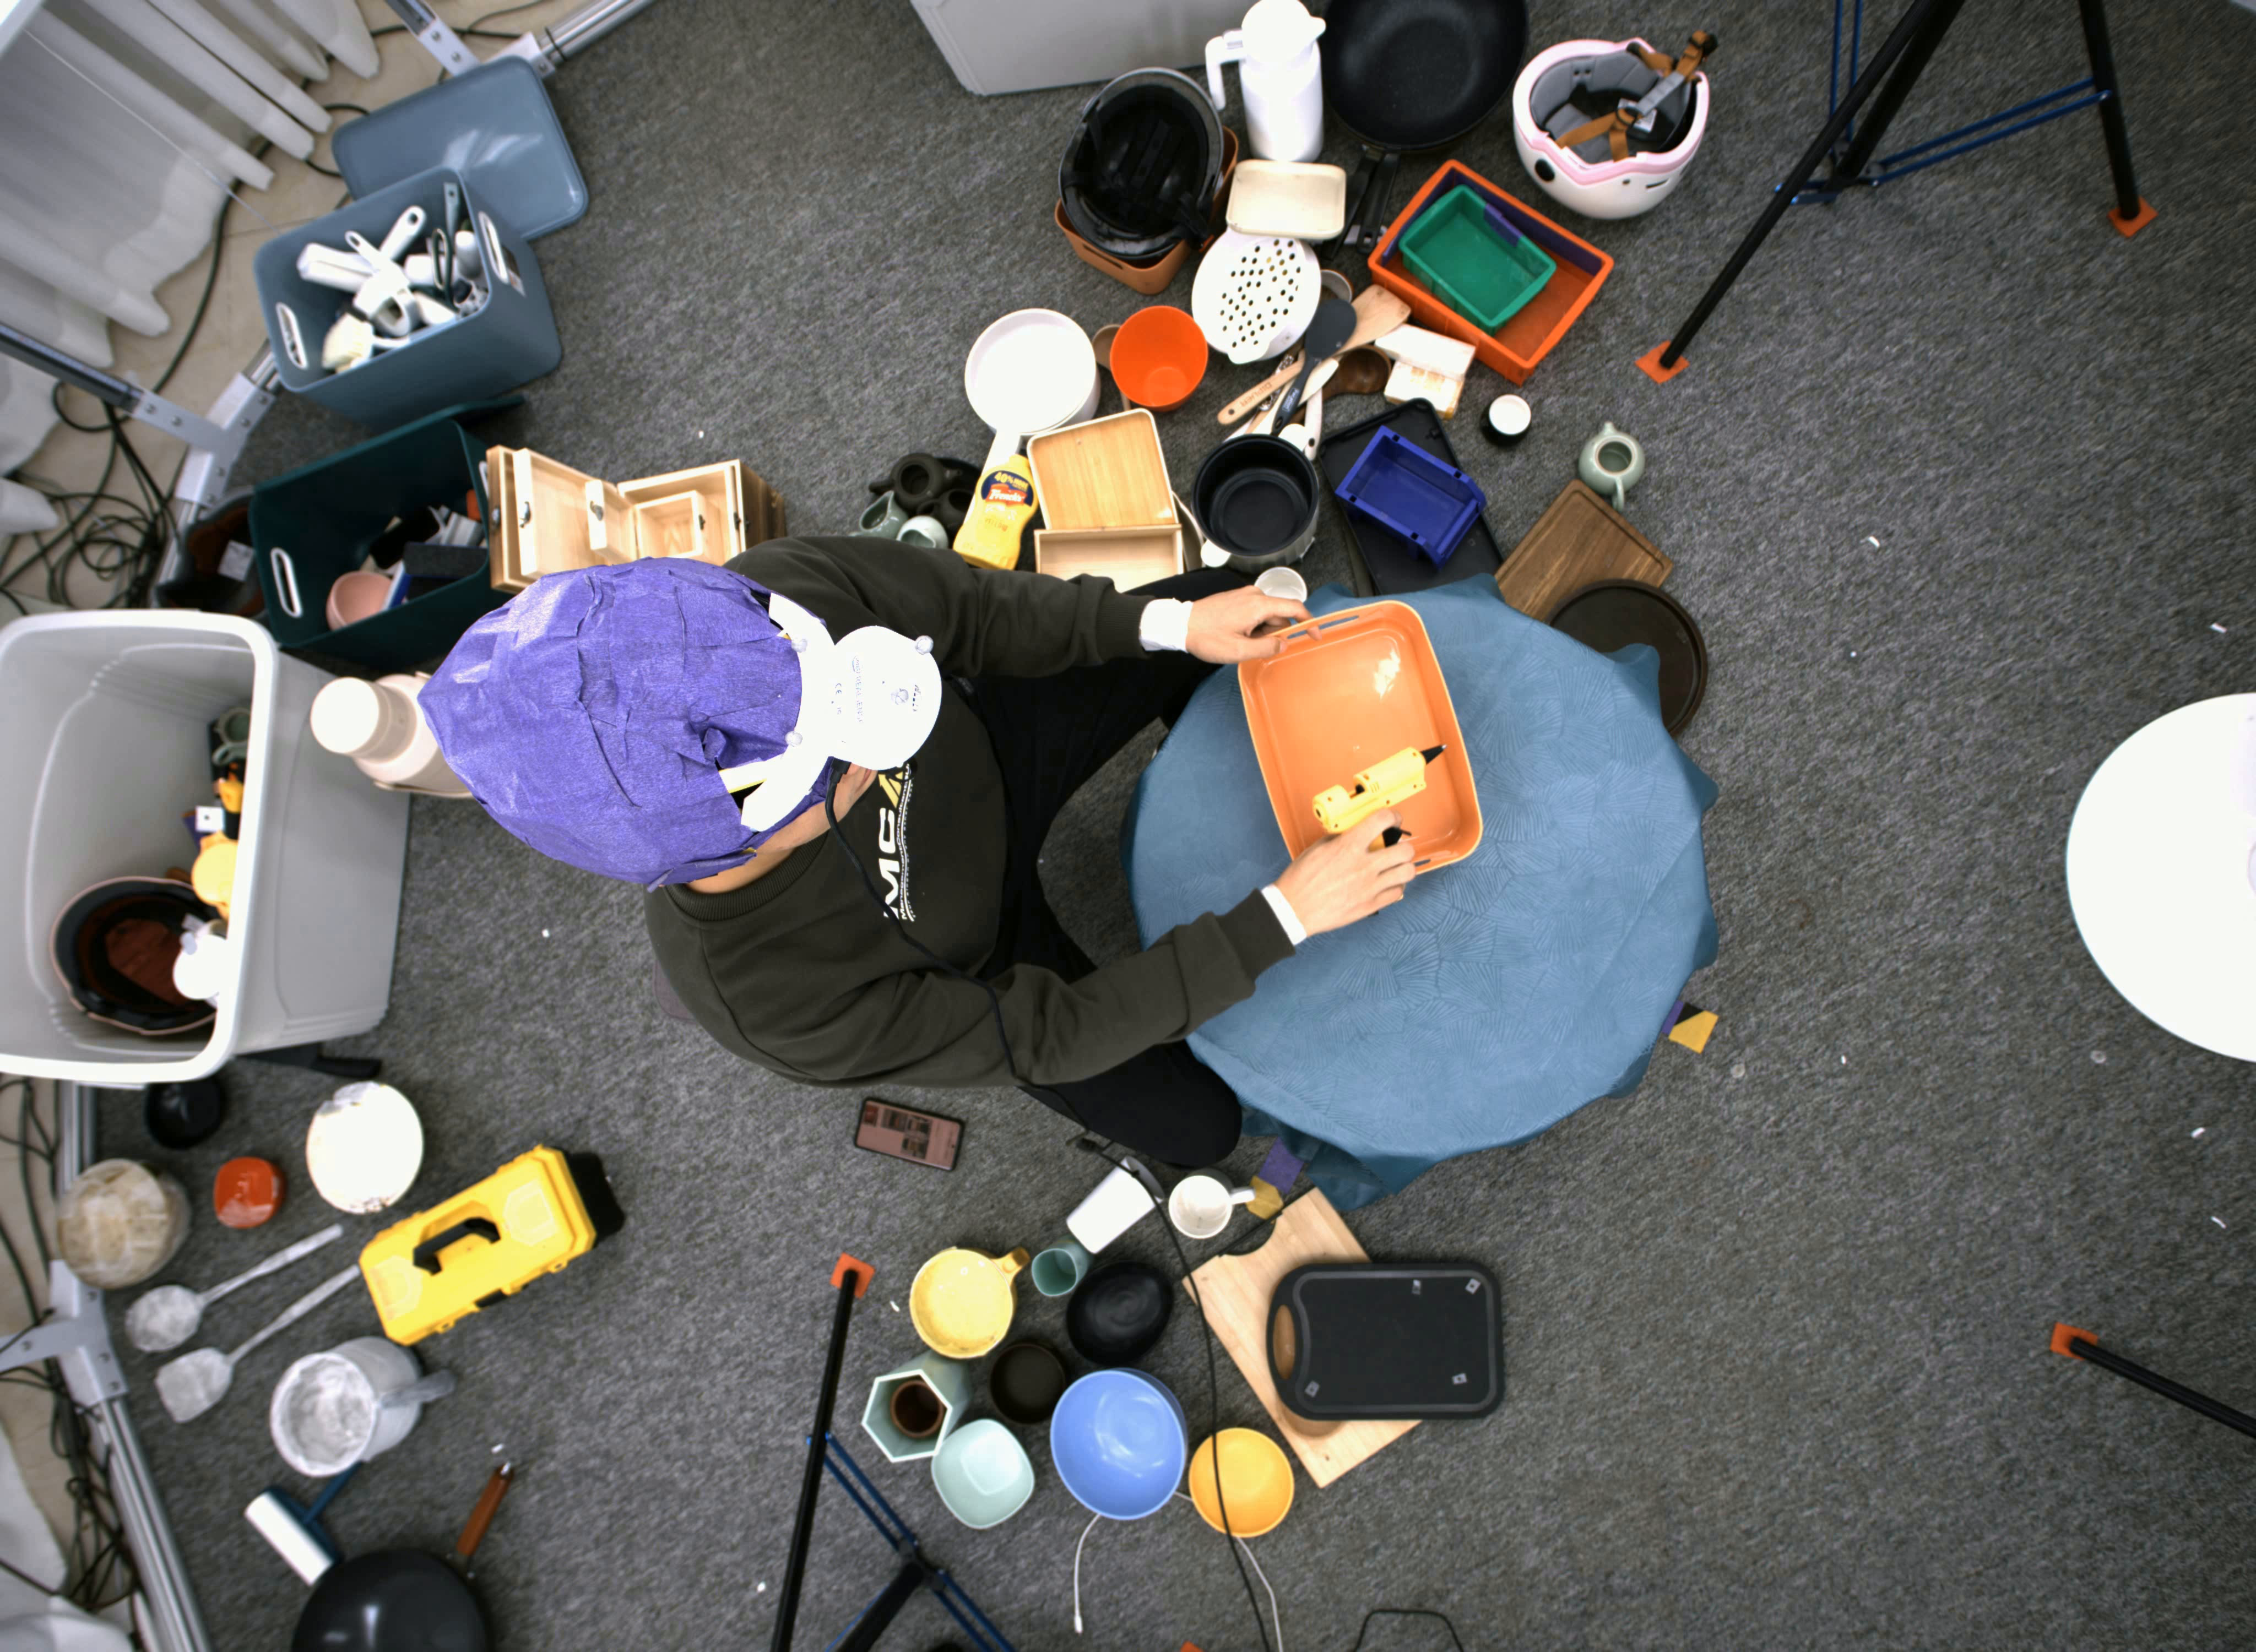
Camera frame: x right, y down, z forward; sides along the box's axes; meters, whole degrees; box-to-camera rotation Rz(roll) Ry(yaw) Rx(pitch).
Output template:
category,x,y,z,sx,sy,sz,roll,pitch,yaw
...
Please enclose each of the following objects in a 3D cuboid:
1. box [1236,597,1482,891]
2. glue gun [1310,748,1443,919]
category,x,y,z,sx,sy,sz,roll,pitch,yaw
box,0.233,-0.082,1.409,0.200,0.102,0.273,-17,93,10
glue gun,0.260,-0.005,1.319,0.150,0.031,0.134,-32,107,-12
